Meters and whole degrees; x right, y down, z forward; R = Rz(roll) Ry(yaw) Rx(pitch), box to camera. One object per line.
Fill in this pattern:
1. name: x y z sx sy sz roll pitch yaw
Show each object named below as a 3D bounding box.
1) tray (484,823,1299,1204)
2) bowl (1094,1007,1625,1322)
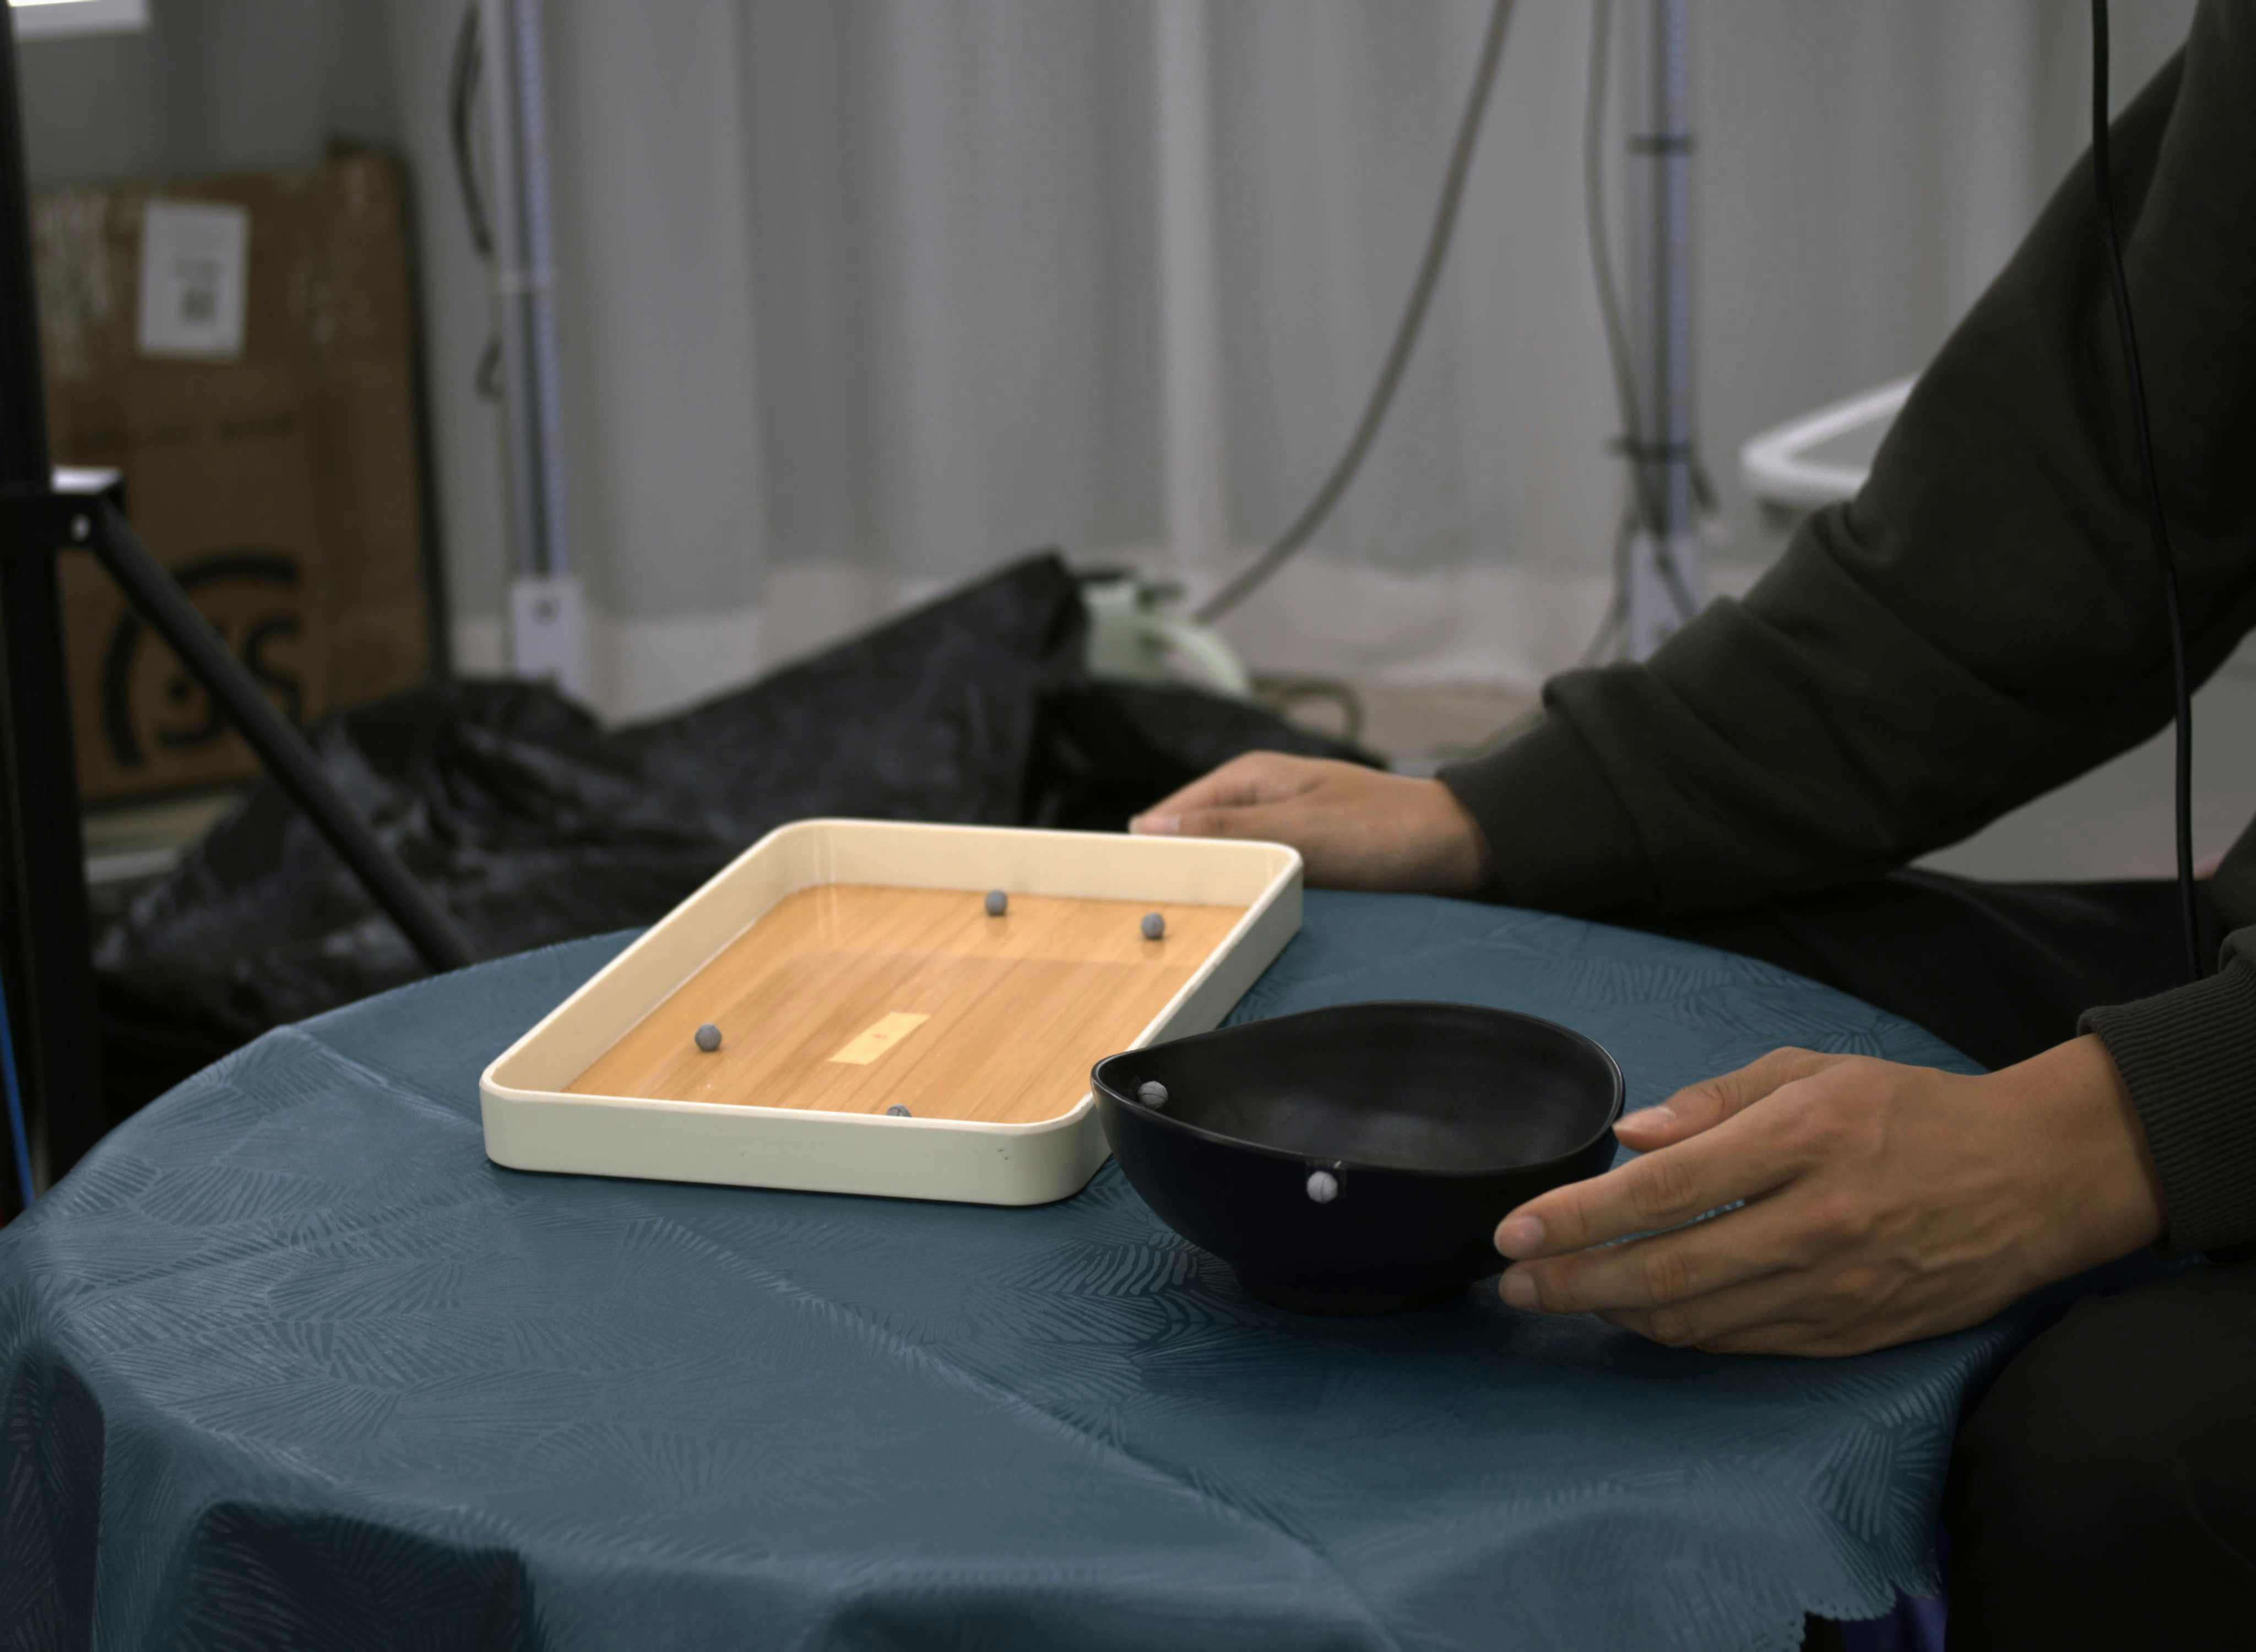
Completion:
1. tray: -0.068 0.055 1.706 0.193 0.027 0.297 2 17 17
2. bowl: 0.063 0.098 1.476 0.134 0.067 0.174 -11 16 -34
